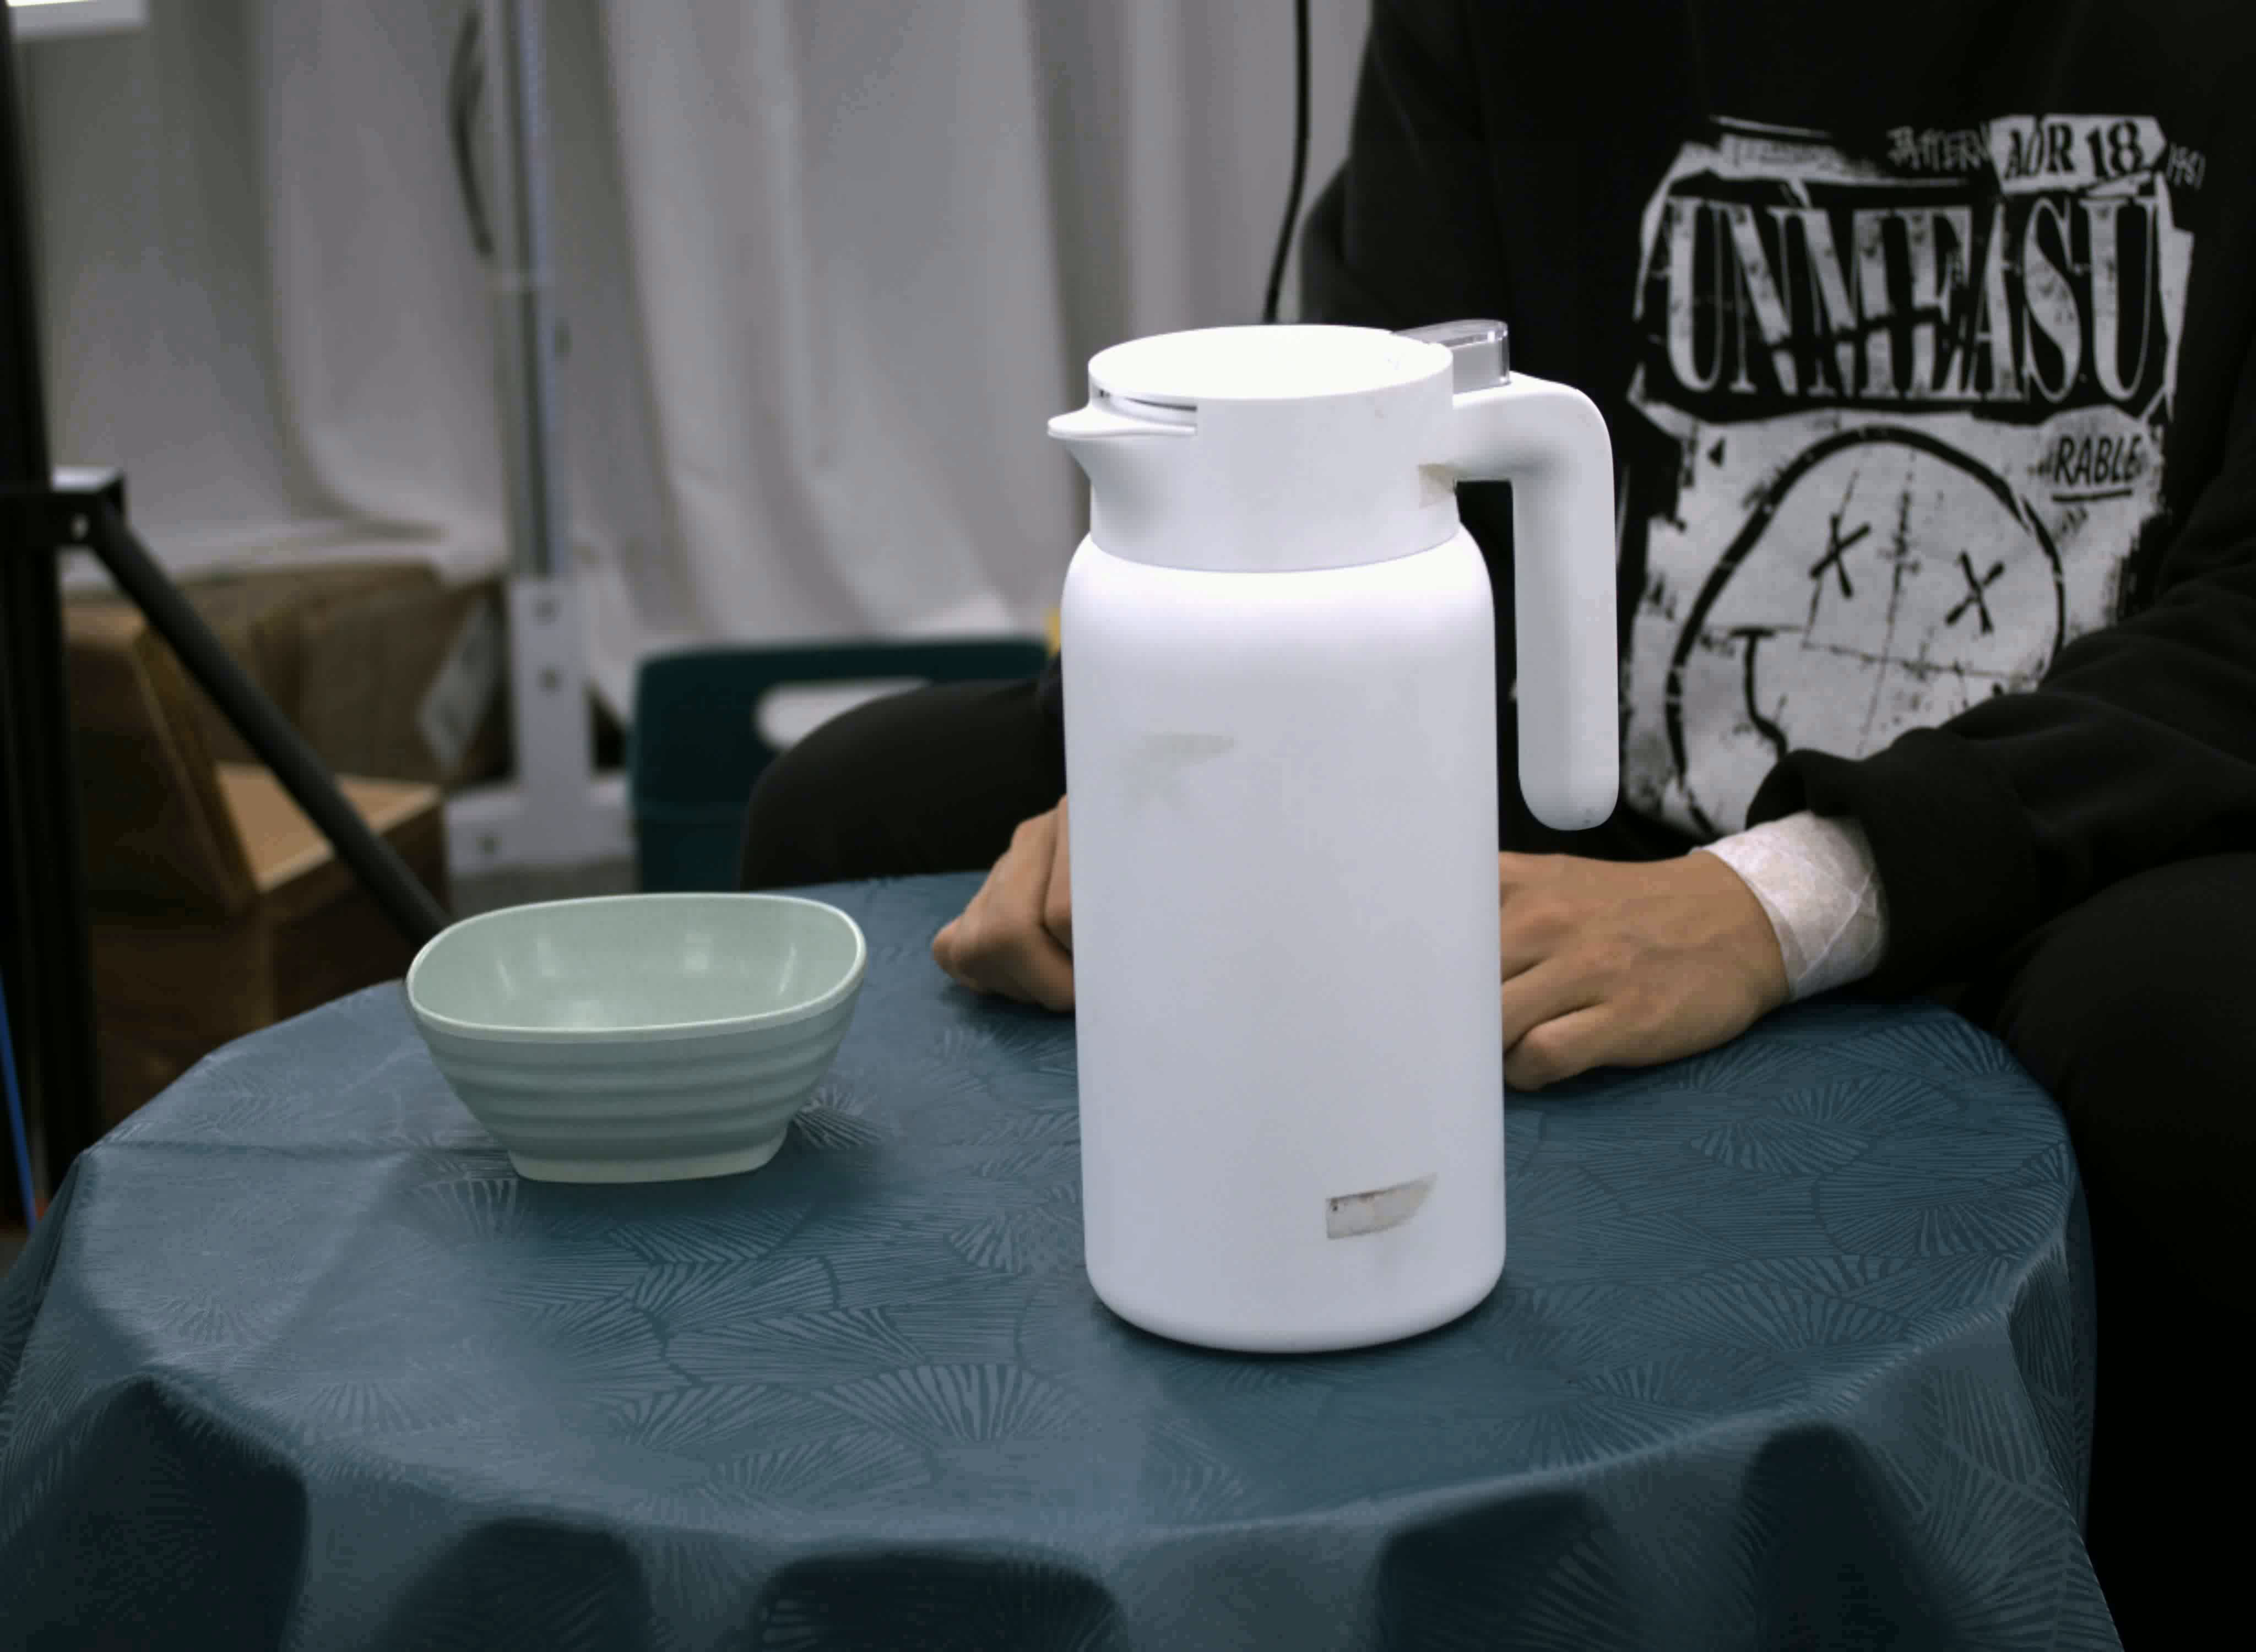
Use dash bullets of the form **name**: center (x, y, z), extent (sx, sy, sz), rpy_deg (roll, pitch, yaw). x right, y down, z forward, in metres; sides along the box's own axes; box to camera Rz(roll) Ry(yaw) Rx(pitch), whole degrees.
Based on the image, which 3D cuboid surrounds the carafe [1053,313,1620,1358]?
- **carafe**: center (0.057, -0.002, 1.445), extent (0.169, 0.269, 0.126), rpy_deg (-11, 16, -30)

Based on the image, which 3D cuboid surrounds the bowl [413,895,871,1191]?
- **bowl**: center (-0.146, 0.069, 1.619), extent (0.150, 0.058, 0.152), rpy_deg (-3, 16, -1)
